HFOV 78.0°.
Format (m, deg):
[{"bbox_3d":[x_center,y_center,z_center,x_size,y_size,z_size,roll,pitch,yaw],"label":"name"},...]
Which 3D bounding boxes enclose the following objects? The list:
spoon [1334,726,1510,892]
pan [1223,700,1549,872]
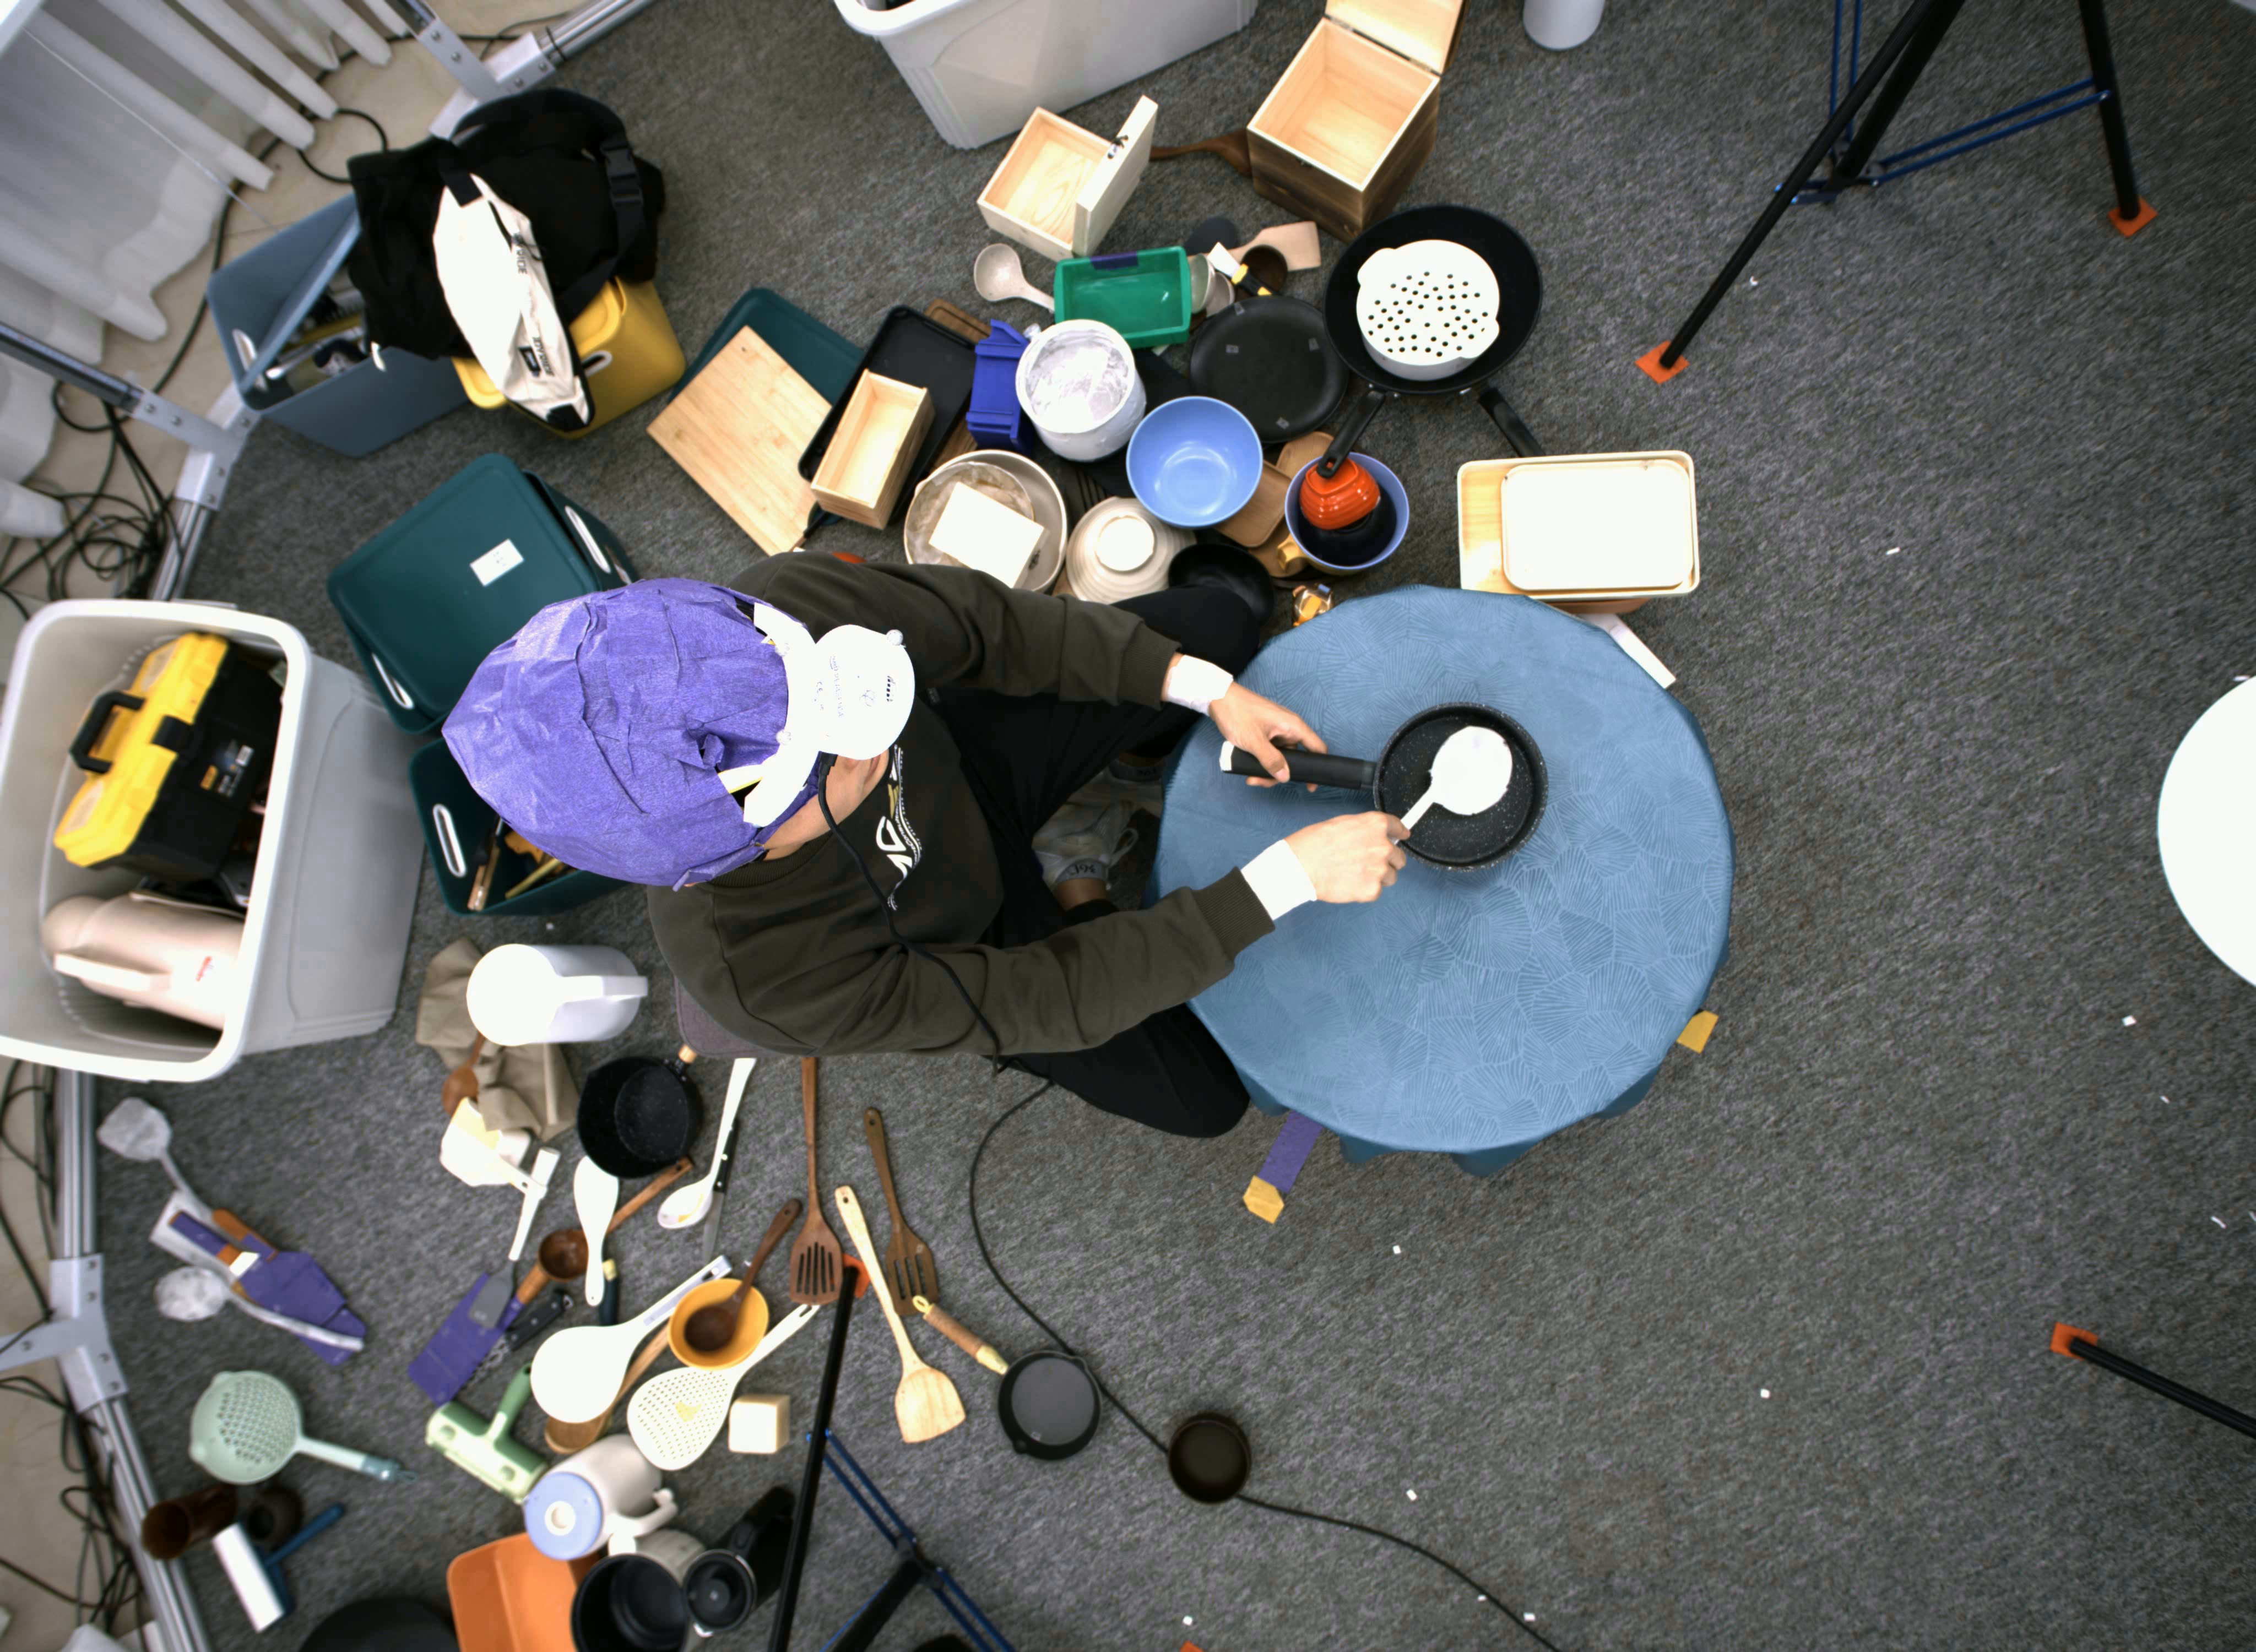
[{"bbox_3d":[0.291,-0.015,1.349,0.060,0.271,0.102,-5,115,45],"label":"spoon"},{"bbox_3d":[0.262,-0.056,1.418,0.329,0.086,0.172,11,93,9],"label":"pan"}]
